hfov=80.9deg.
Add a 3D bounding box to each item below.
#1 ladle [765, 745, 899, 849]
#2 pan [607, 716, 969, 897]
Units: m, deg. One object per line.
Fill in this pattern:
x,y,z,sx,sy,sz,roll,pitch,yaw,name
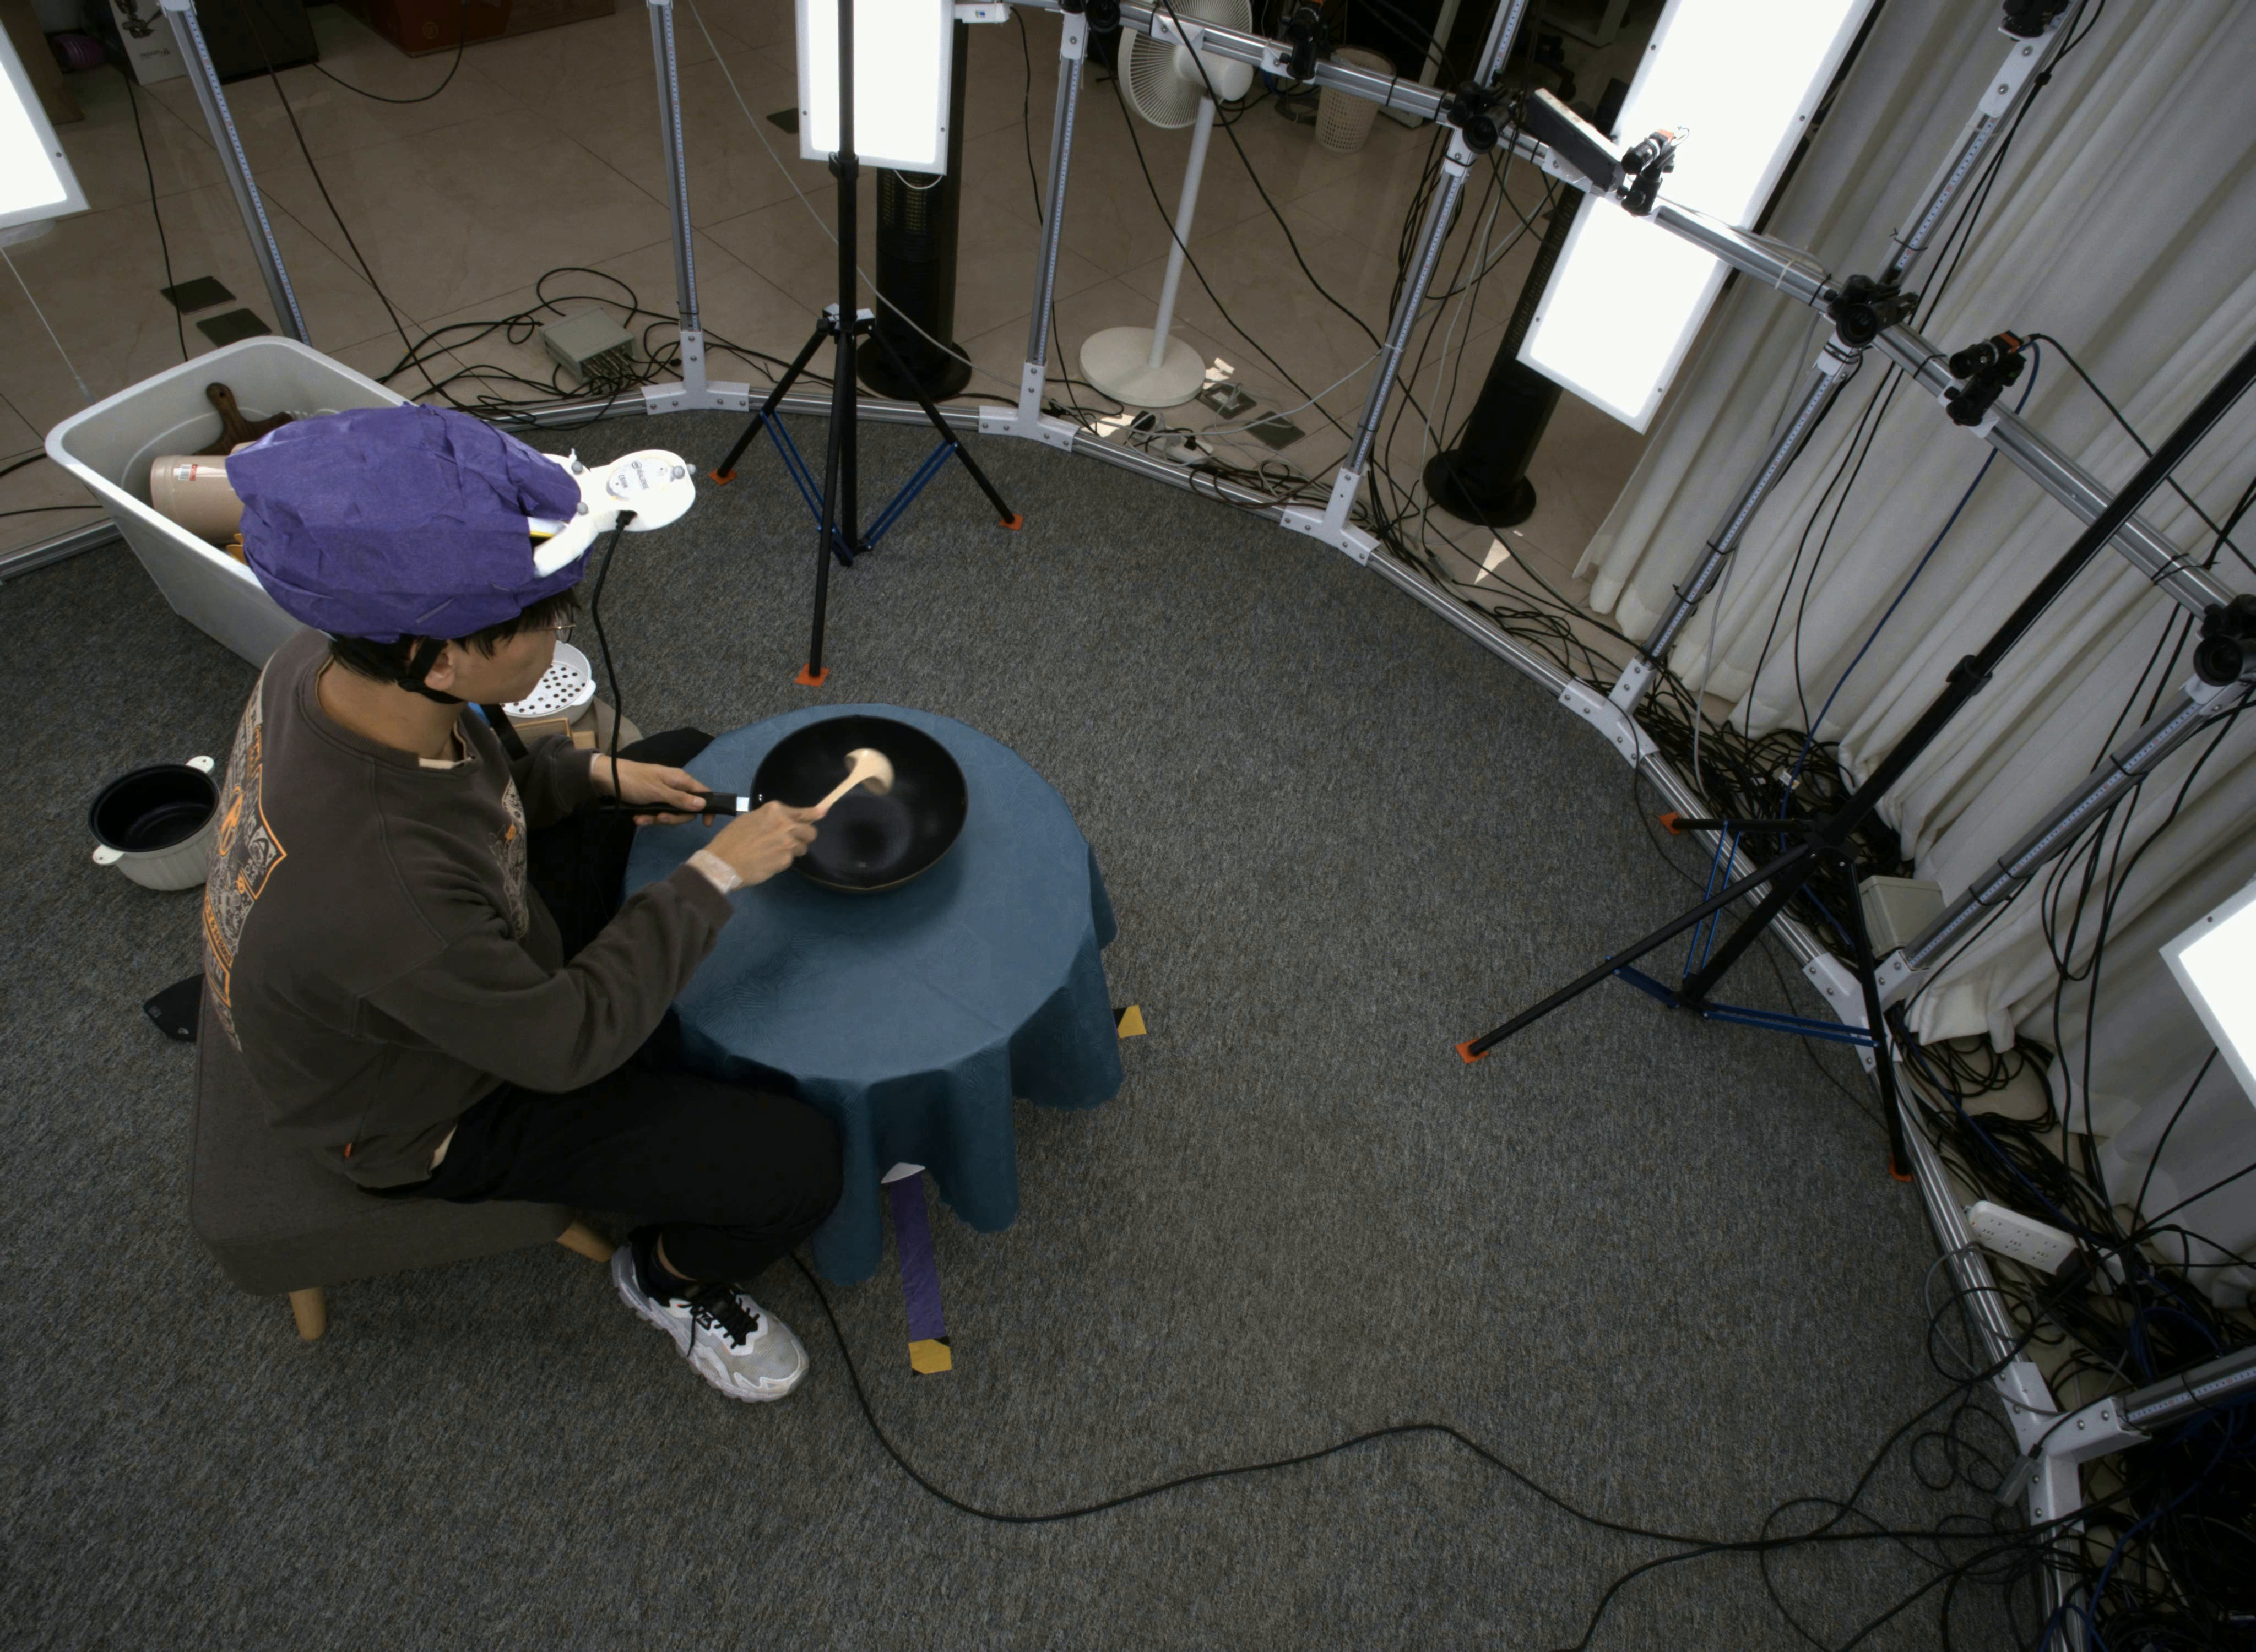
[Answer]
-0.381,-0.022,1.631,0.072,0.073,0.254,44,43,-1,ladle
-0.439,-0.011,1.690,0.463,0.089,0.282,-2,55,-13,pan
